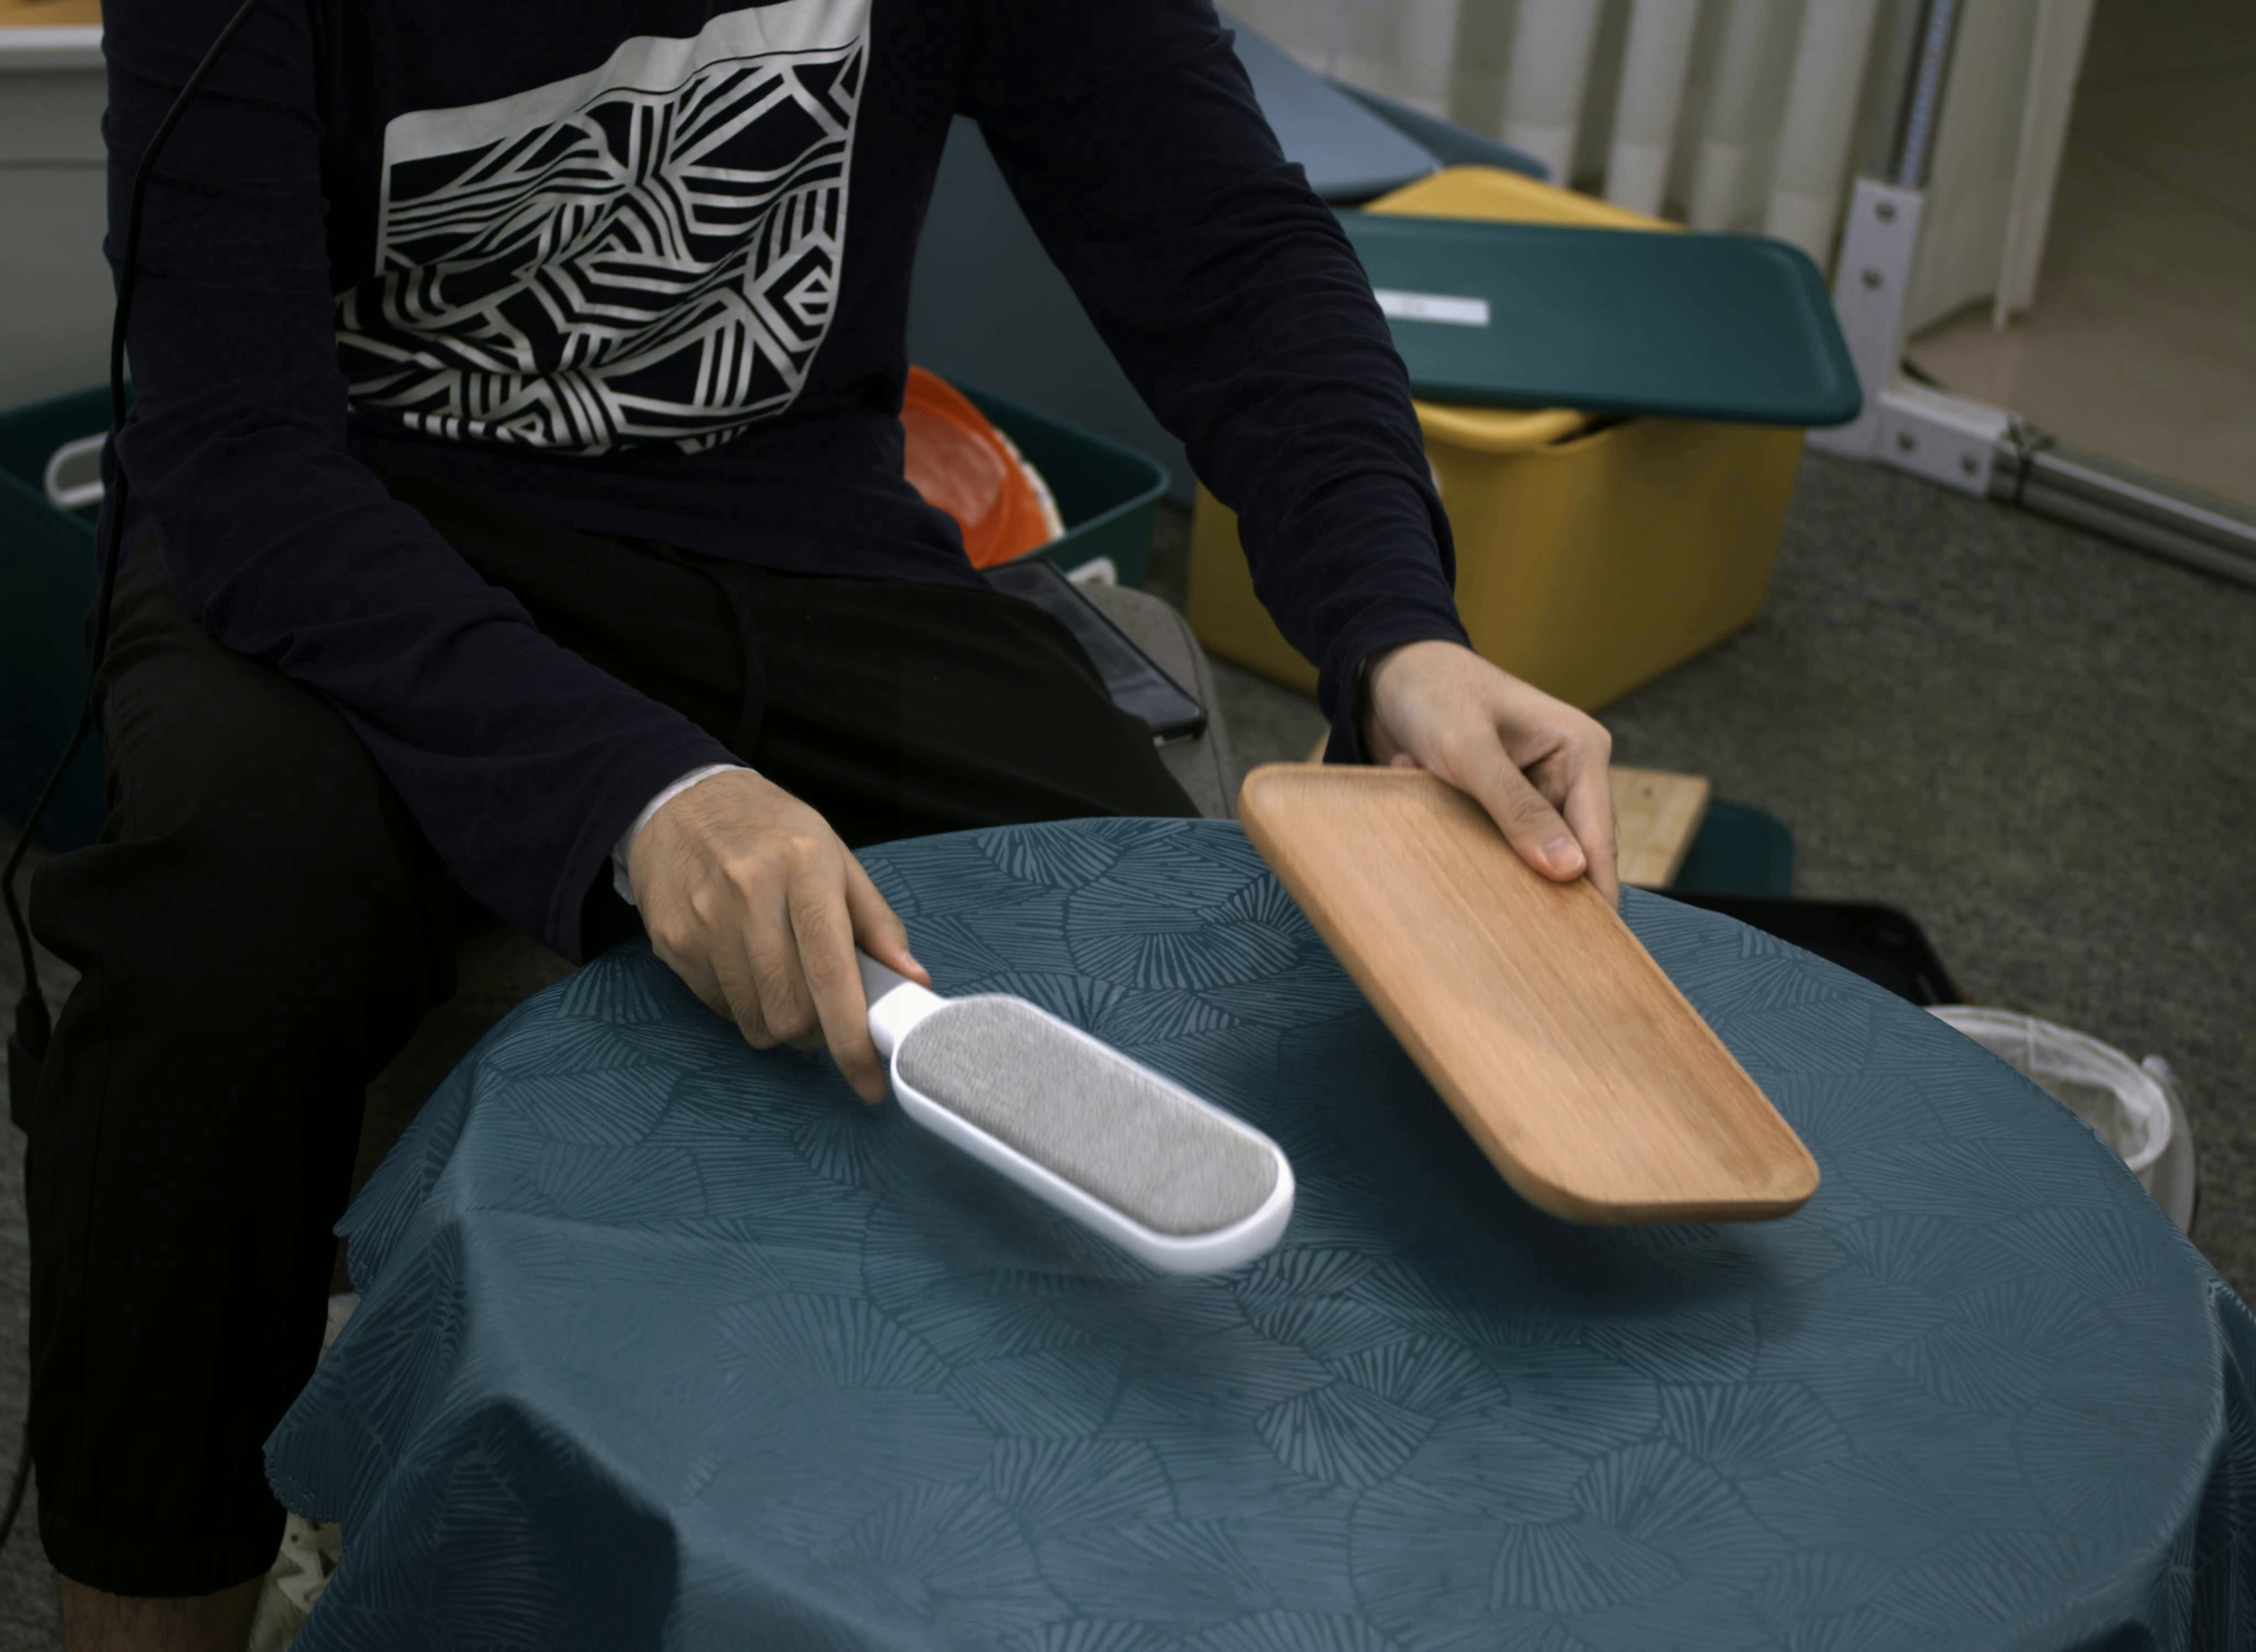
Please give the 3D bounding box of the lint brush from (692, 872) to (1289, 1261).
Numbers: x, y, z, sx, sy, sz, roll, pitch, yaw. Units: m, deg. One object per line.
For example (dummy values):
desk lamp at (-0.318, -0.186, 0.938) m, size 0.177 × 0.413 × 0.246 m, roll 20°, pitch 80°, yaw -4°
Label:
lint brush at (-0.053, 0.074, 1.789) m, size 0.060 × 0.021 × 0.311 m, roll -41°, pitch 40°, yaw -19°

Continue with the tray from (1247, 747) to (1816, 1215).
tray at (0.136, 0.052, 1.843) m, size 0.129 × 0.023 × 0.253 m, roll 7°, pitch 32°, yaw -31°
